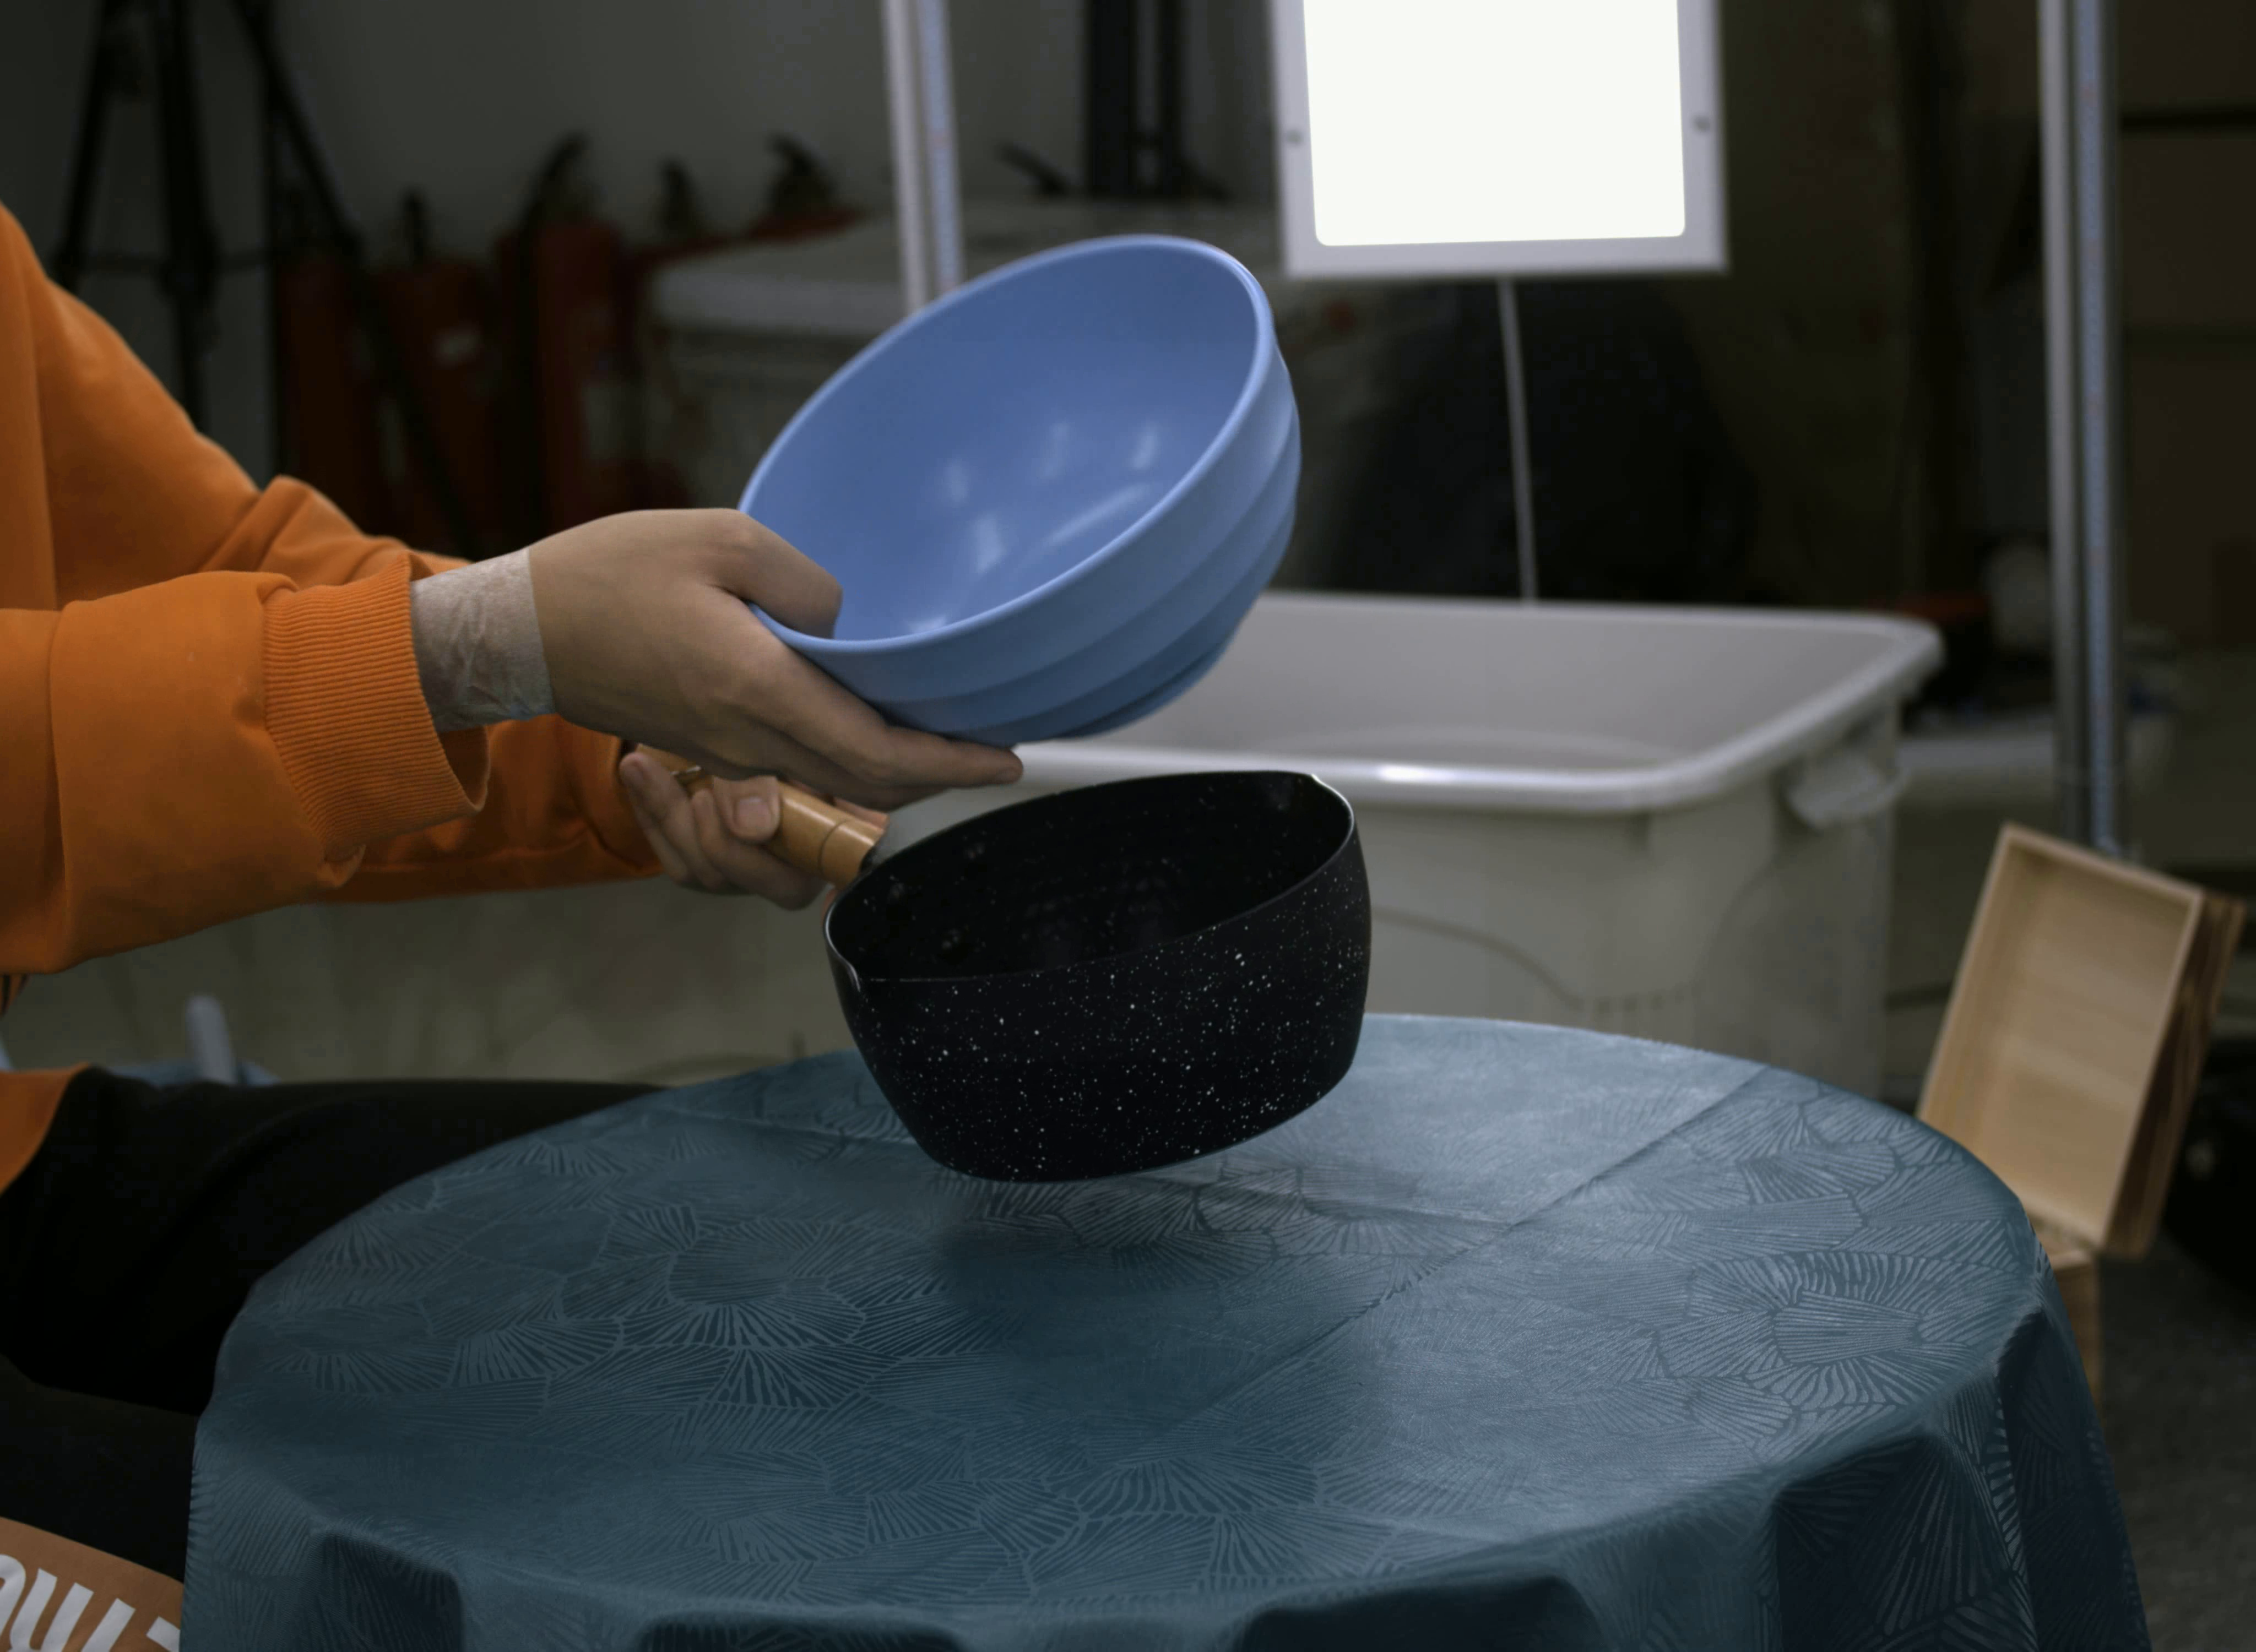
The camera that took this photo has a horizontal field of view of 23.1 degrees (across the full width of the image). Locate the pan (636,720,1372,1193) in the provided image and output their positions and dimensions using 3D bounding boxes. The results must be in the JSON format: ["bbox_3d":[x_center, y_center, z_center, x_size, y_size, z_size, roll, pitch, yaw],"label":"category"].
[{"bbox_3d":[-0.059,0.034,1.918,0.203,0.108,0.350,-28,24,-34],"label":"pan"}]

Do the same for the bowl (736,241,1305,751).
[{"bbox_3d":[-0.021,-0.091,1.794,0.198,0.095,0.196,-23,34,15],"label":"bowl"}]
